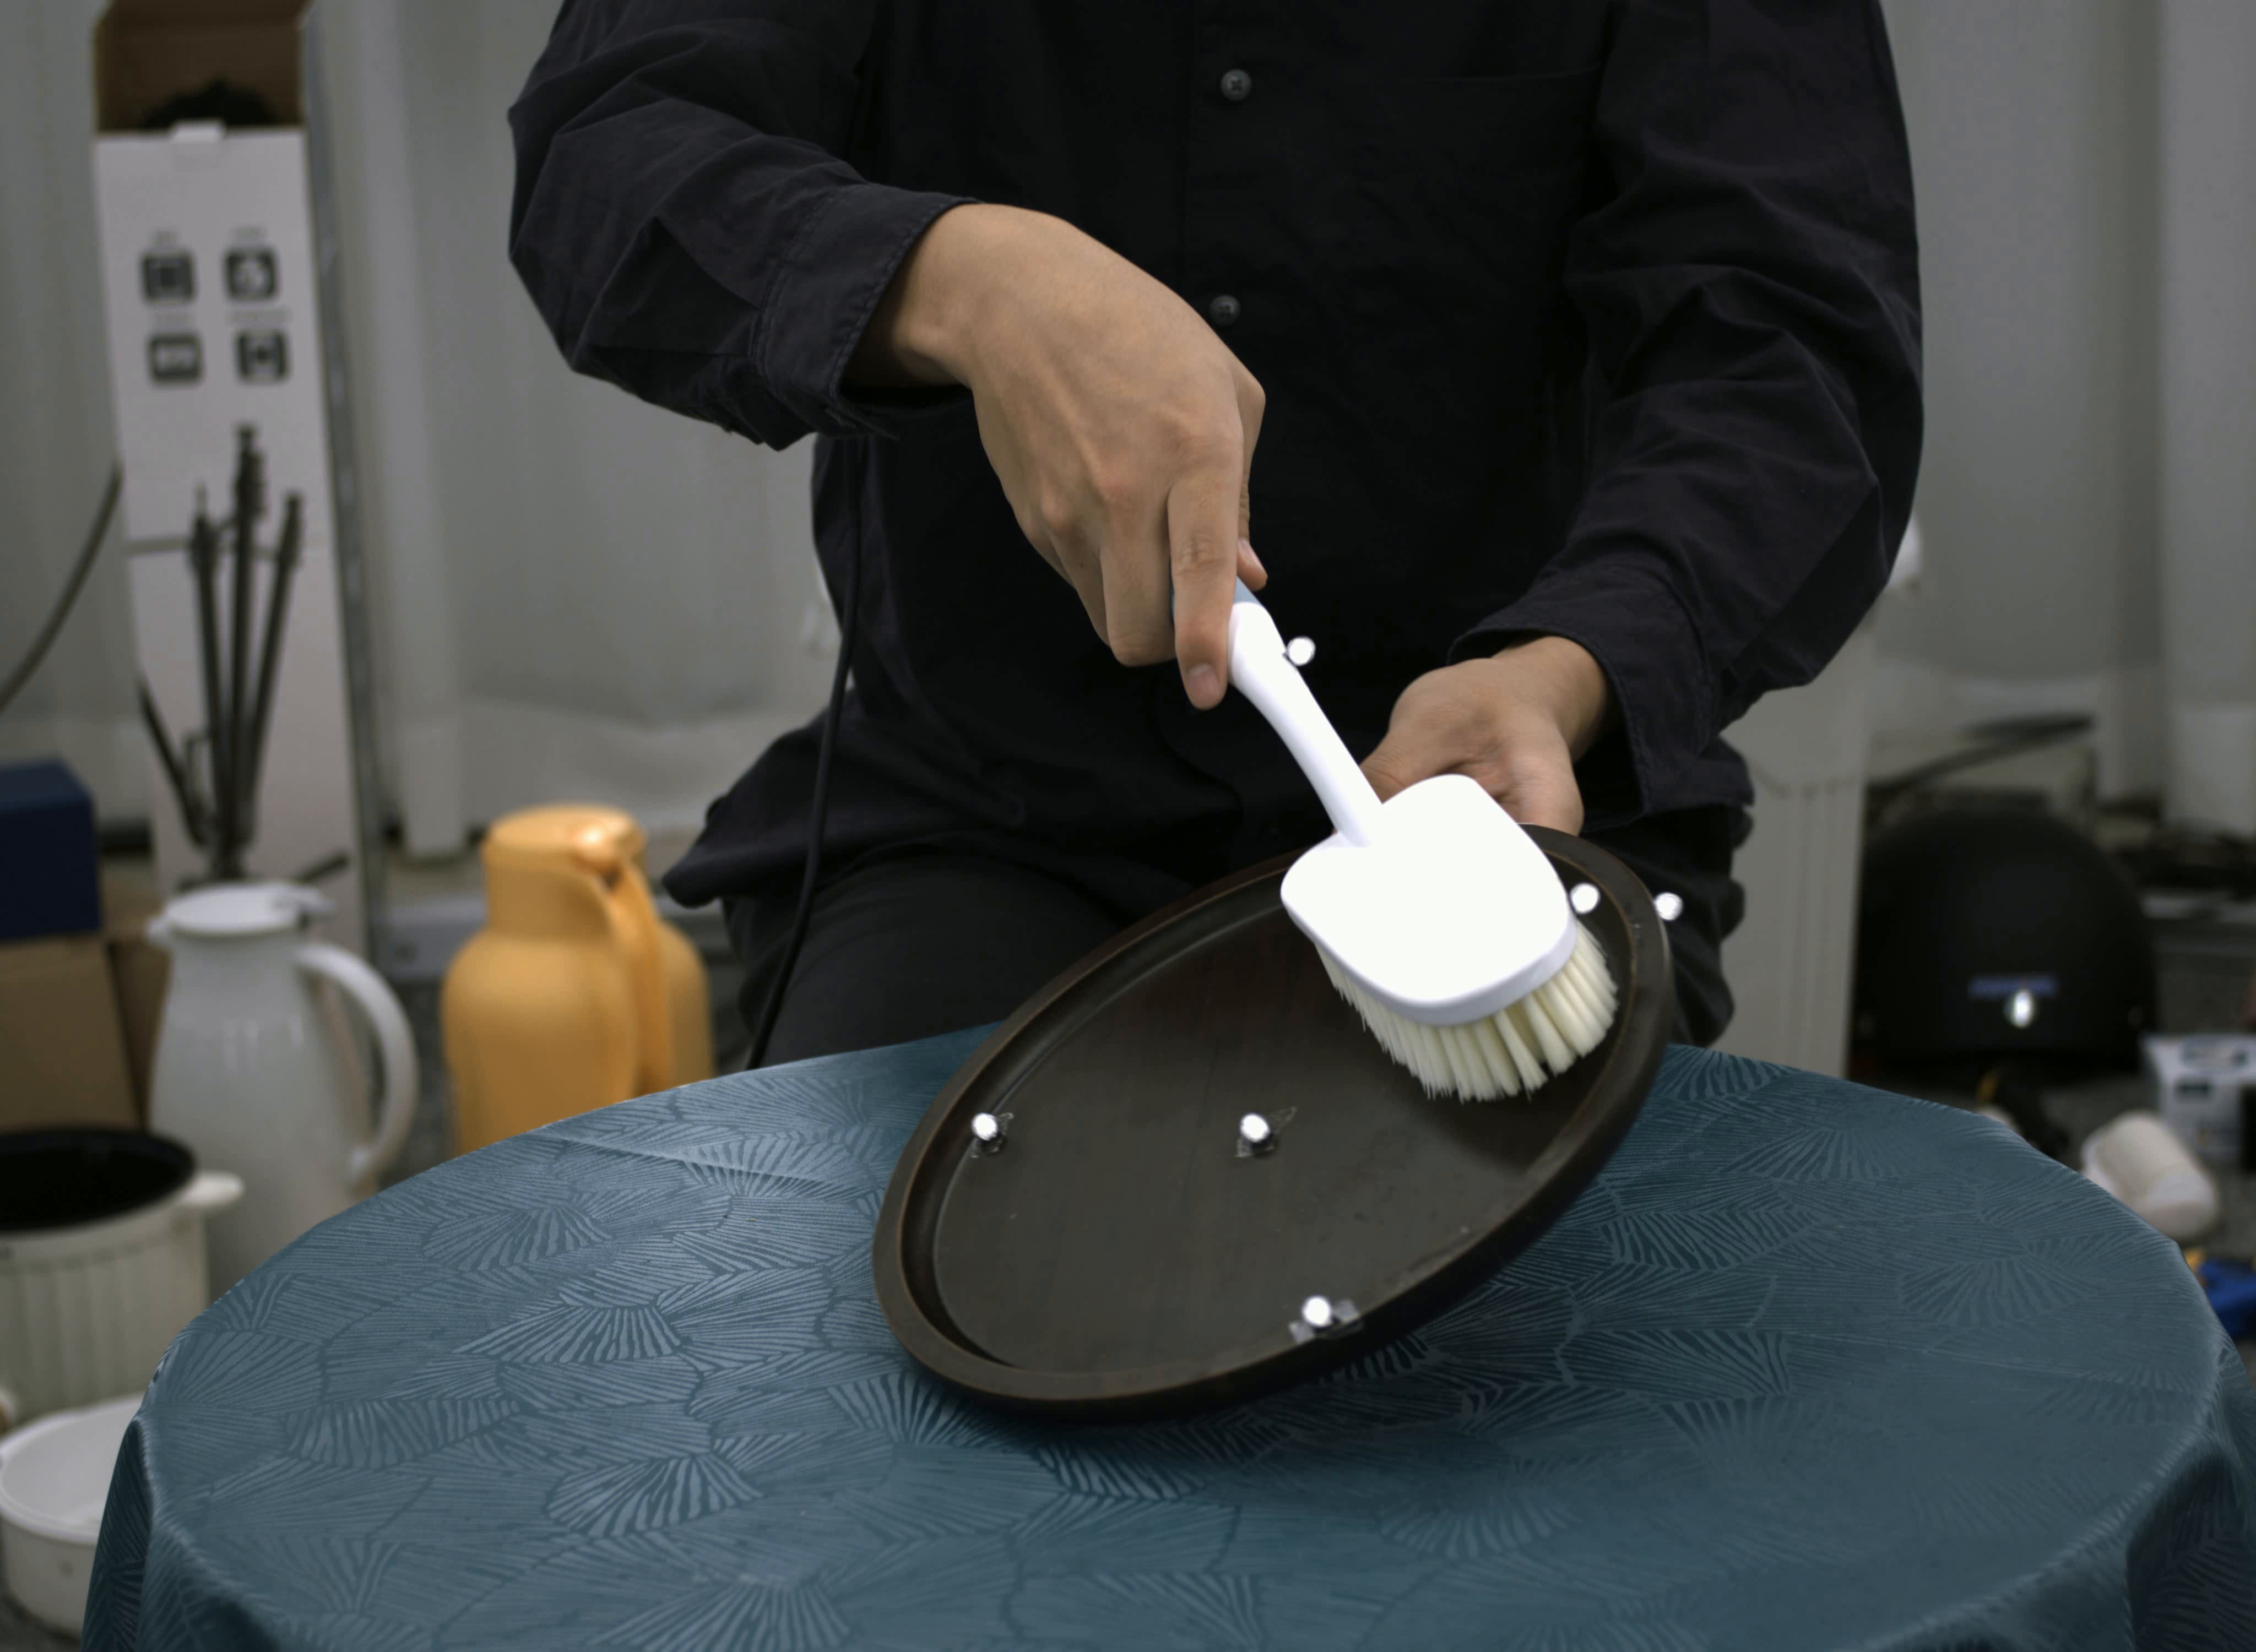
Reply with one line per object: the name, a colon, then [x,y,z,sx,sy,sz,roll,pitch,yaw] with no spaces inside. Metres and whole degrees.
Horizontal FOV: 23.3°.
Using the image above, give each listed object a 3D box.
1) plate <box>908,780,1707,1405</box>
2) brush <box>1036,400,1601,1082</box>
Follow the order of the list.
plate: [0.053,0.077,1.584,0.254,0.029,0.258,-24,28,13]
brush: [0.058,-0.023,1.654,0.082,0.084,0.330,-1,33,-27]
